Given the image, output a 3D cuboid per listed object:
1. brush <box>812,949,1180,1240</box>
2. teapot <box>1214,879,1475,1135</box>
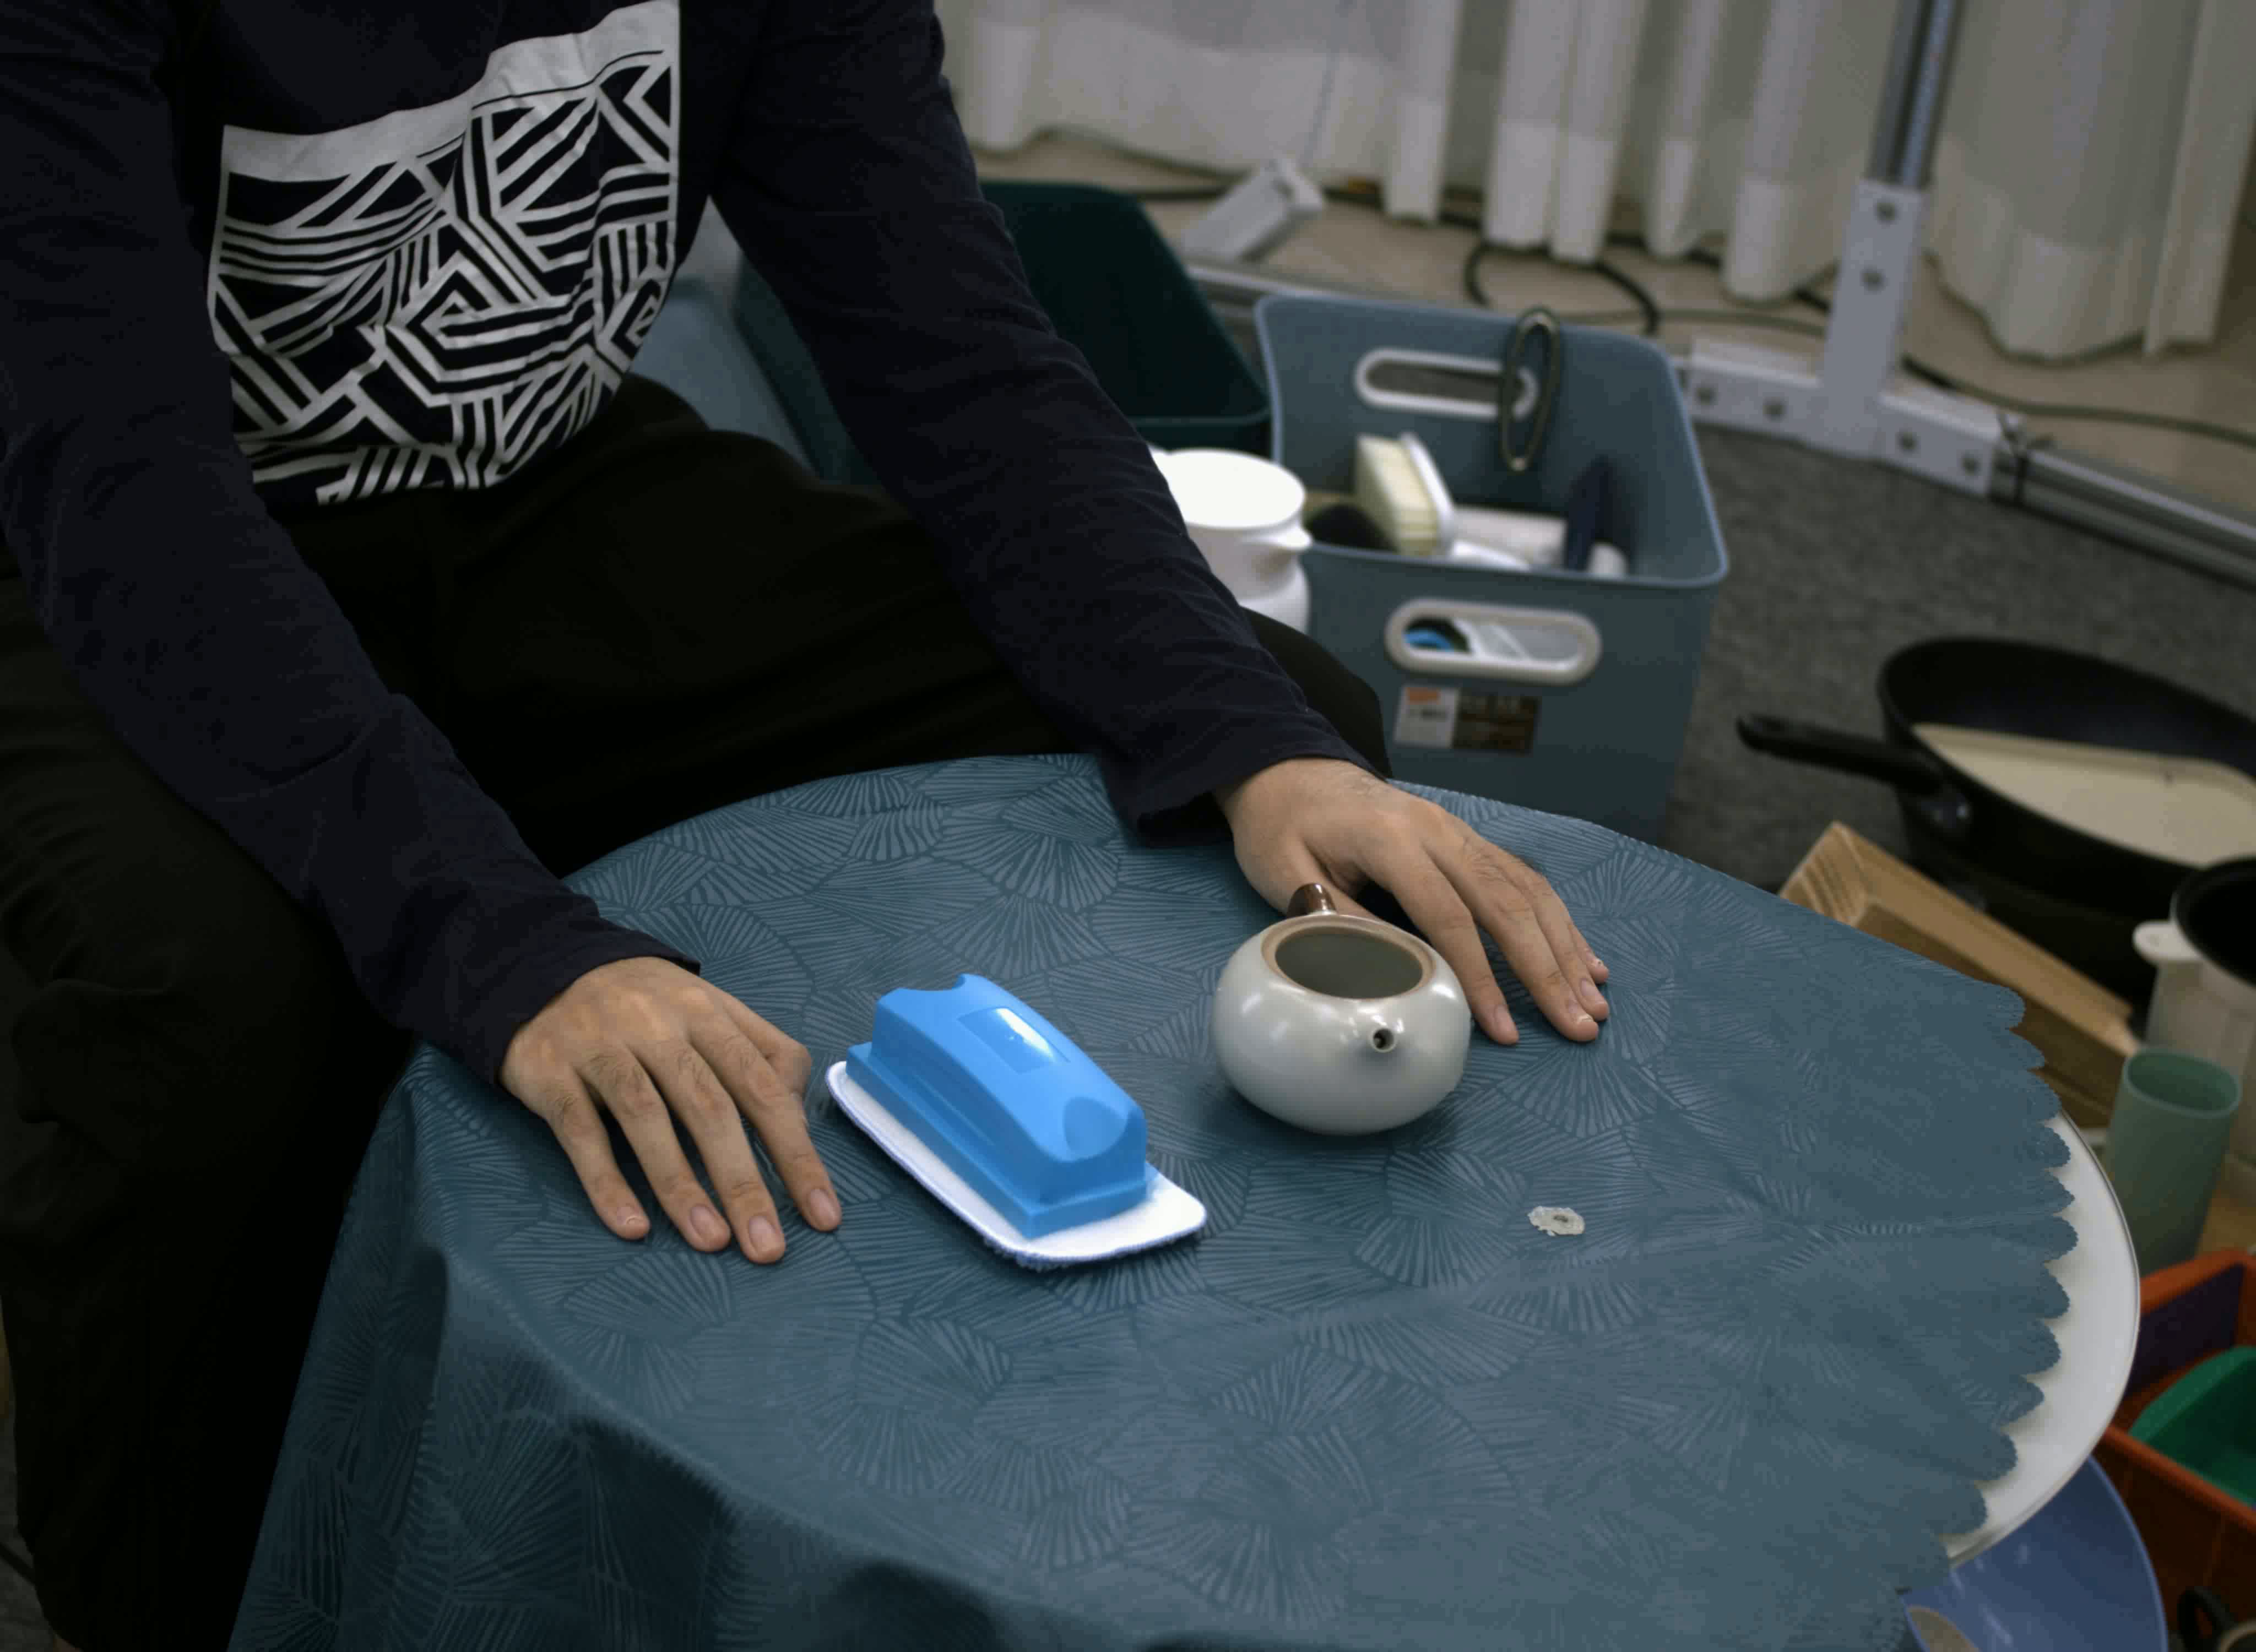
[{"bbox_3d":[-0.042,0.086,1.802,0.083,0.056,0.145,-7,32,-31],"label":"brush"},{"bbox_3d":[0.073,0.065,1.872,0.091,0.059,0.129,-3,30,-14],"label":"teapot"}]
